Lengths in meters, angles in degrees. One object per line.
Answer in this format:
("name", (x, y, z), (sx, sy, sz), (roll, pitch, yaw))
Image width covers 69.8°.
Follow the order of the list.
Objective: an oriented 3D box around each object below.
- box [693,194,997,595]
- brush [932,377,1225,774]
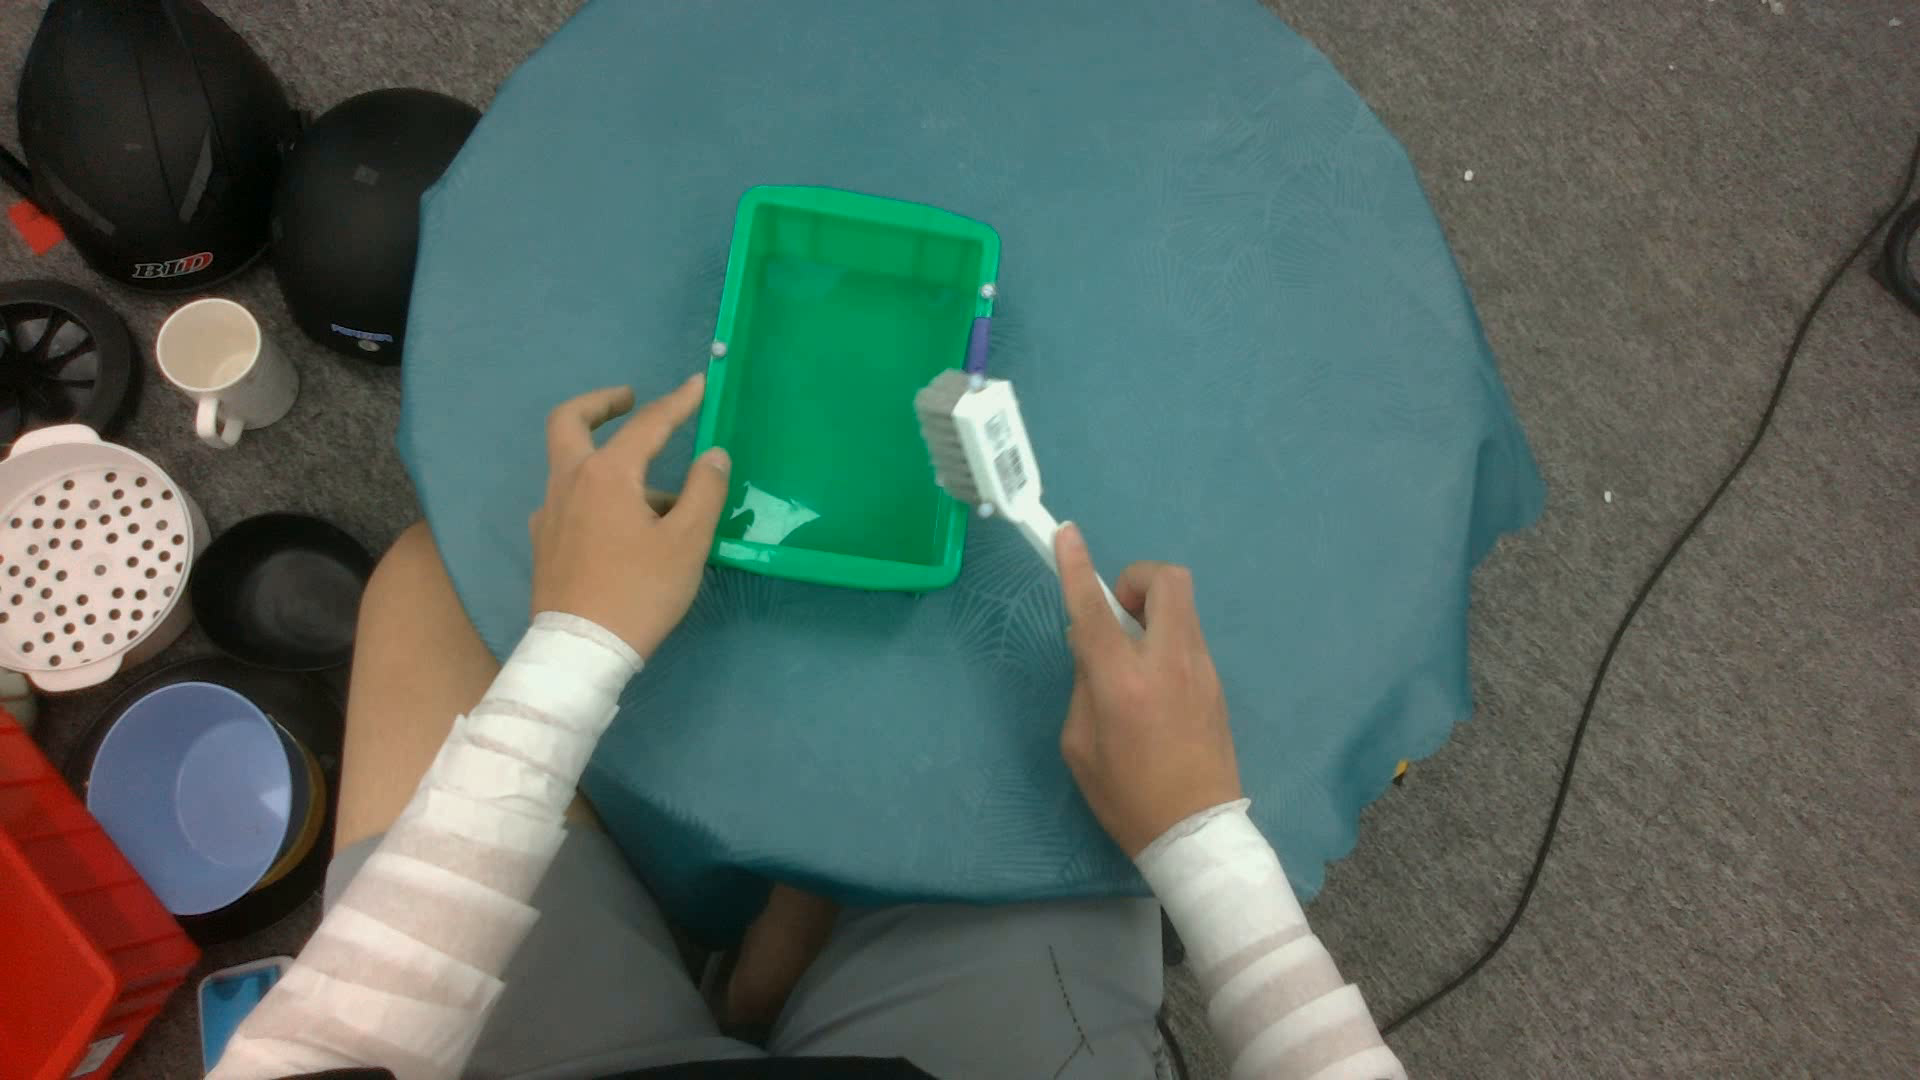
("box", (-0.059, -0.073, 0.733), (0.139, 0.065, 0.211), (7, 74, -6))
("brush", (0.060, 0.024, 0.694), (0.034, 0.050, 0.243), (-48, 114, -37))
